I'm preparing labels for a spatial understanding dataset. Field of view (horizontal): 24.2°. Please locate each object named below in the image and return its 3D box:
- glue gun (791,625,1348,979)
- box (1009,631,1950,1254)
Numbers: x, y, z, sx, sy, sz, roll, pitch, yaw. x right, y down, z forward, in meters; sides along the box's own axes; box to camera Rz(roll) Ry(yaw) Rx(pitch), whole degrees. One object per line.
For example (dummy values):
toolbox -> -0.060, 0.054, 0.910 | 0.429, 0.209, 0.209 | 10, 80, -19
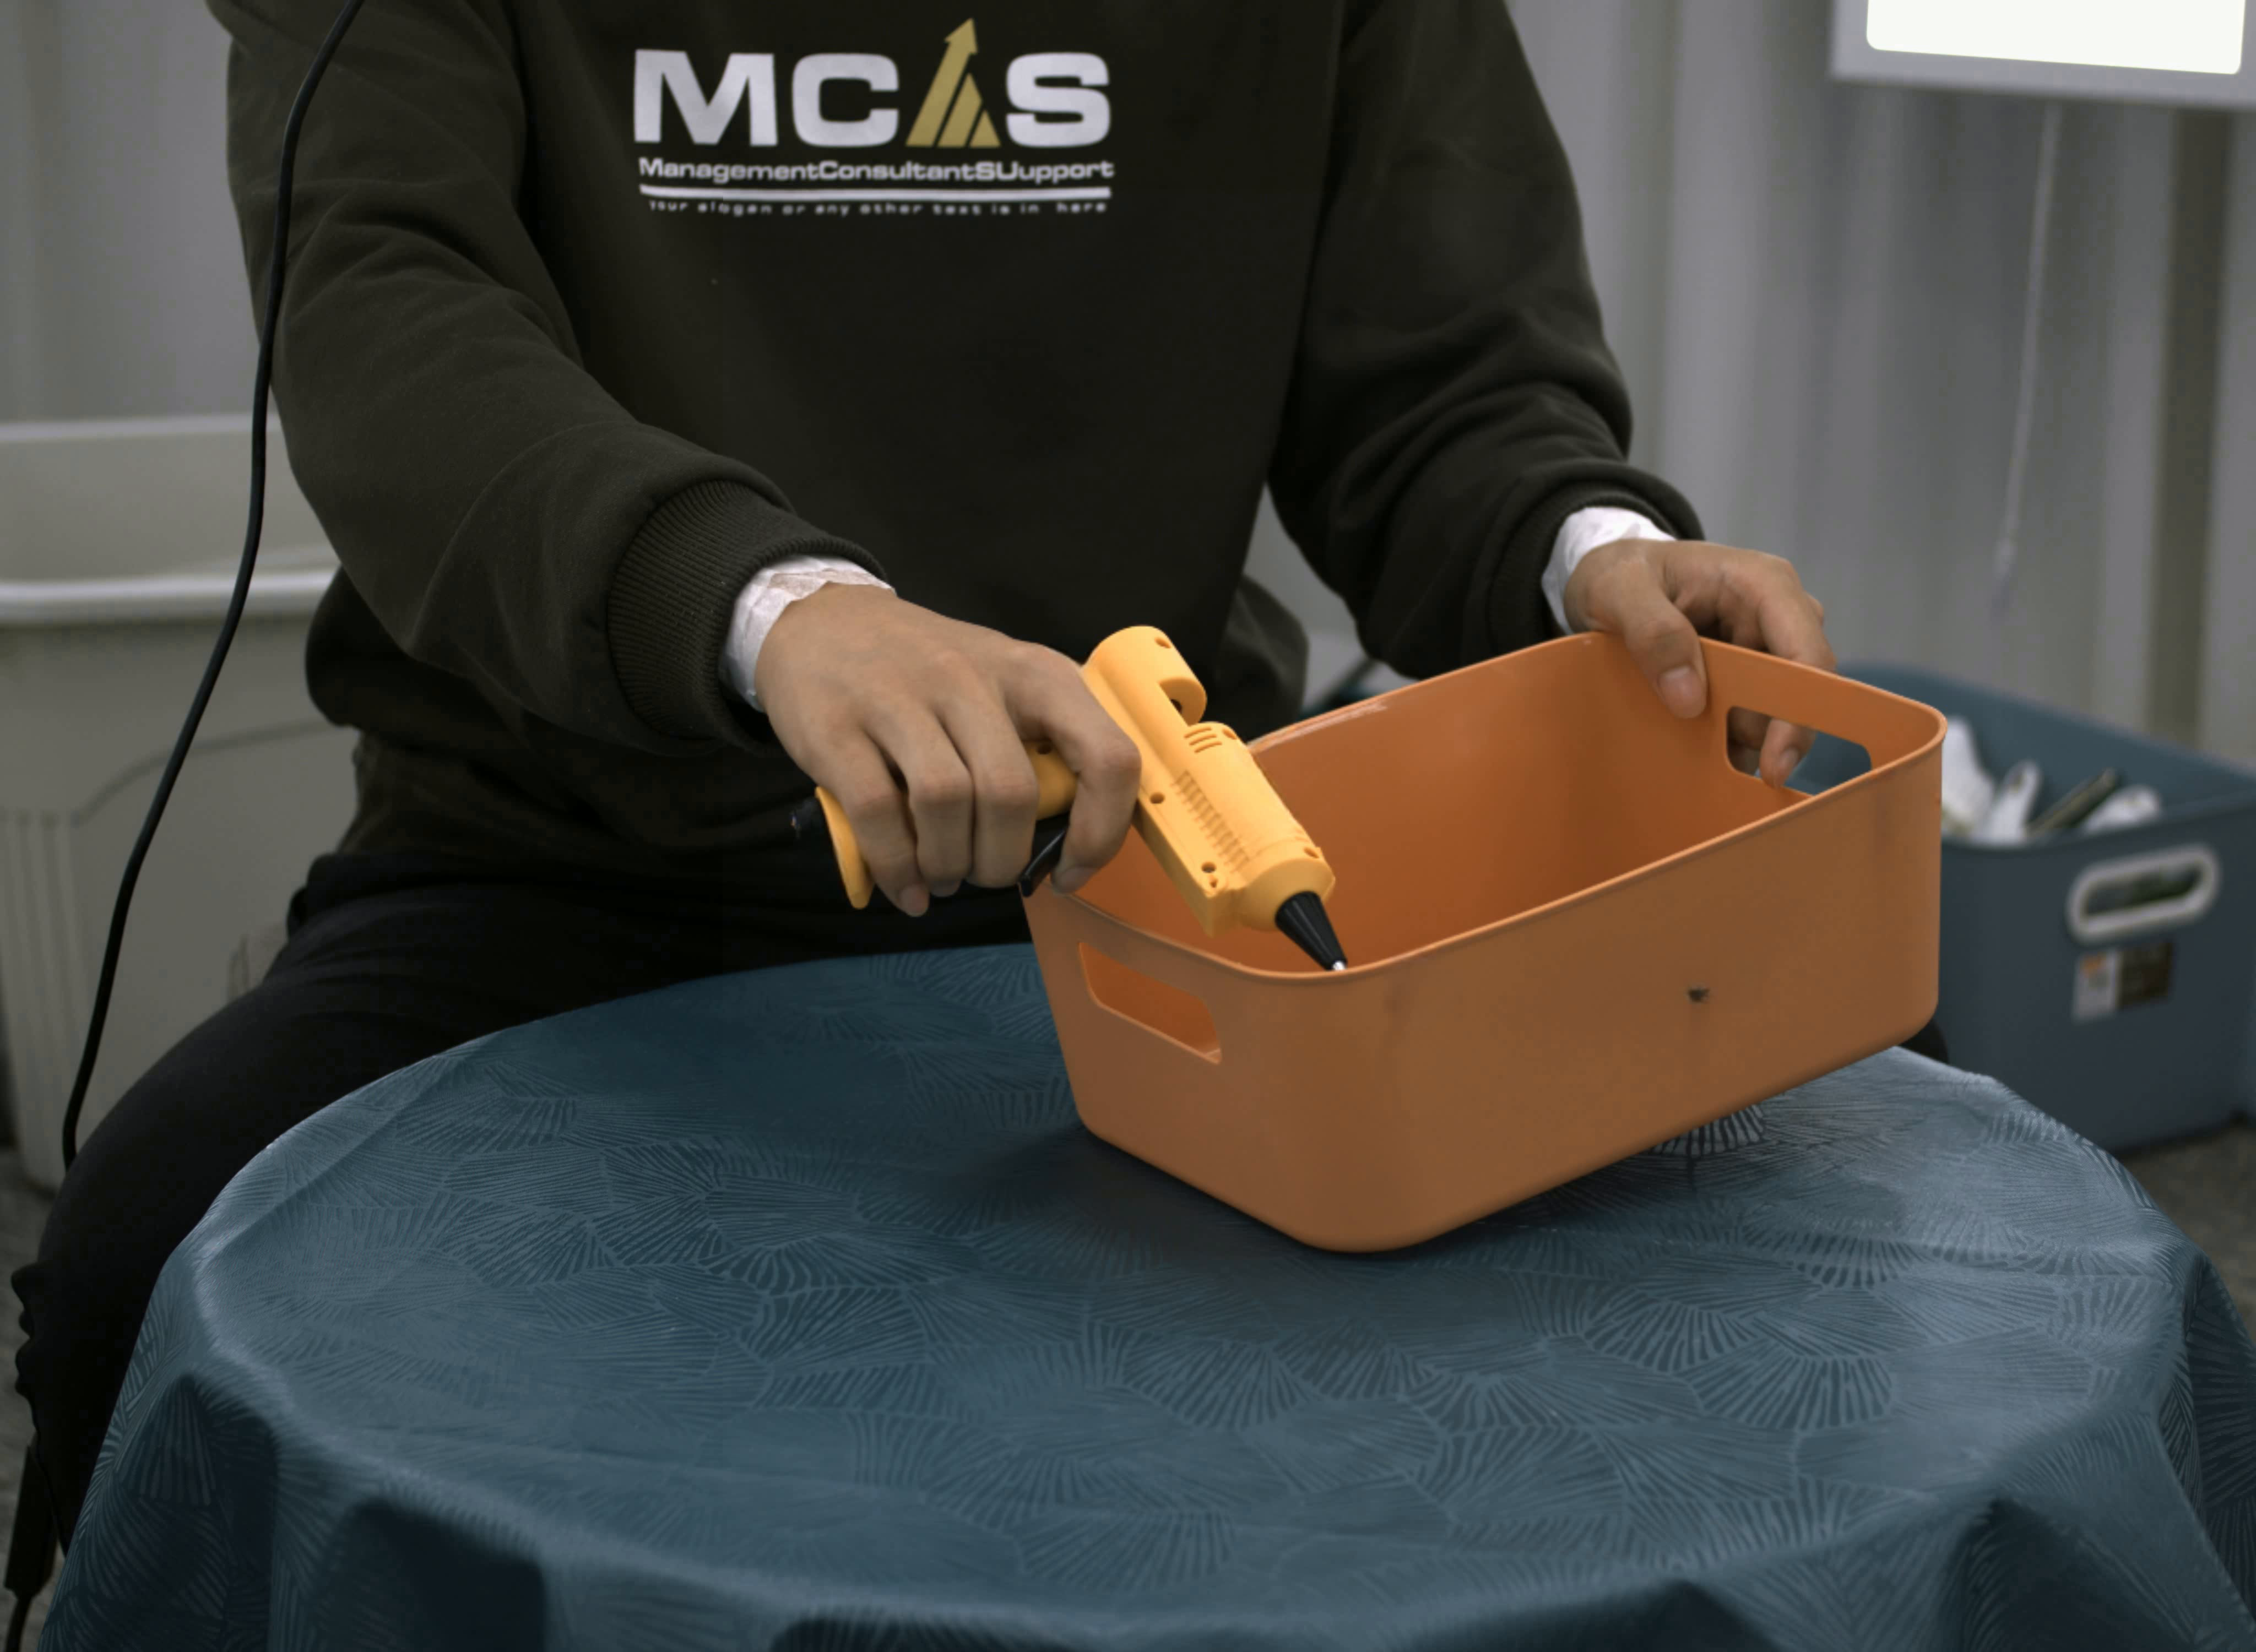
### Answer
glue gun -> -0.009, 0.014, 1.558 | 0.133, 0.031, 0.149 | -26, 51, -19
box -> 0.116, 0.034, 1.668 | 0.274, 0.103, 0.197 | -21, 23, -29
